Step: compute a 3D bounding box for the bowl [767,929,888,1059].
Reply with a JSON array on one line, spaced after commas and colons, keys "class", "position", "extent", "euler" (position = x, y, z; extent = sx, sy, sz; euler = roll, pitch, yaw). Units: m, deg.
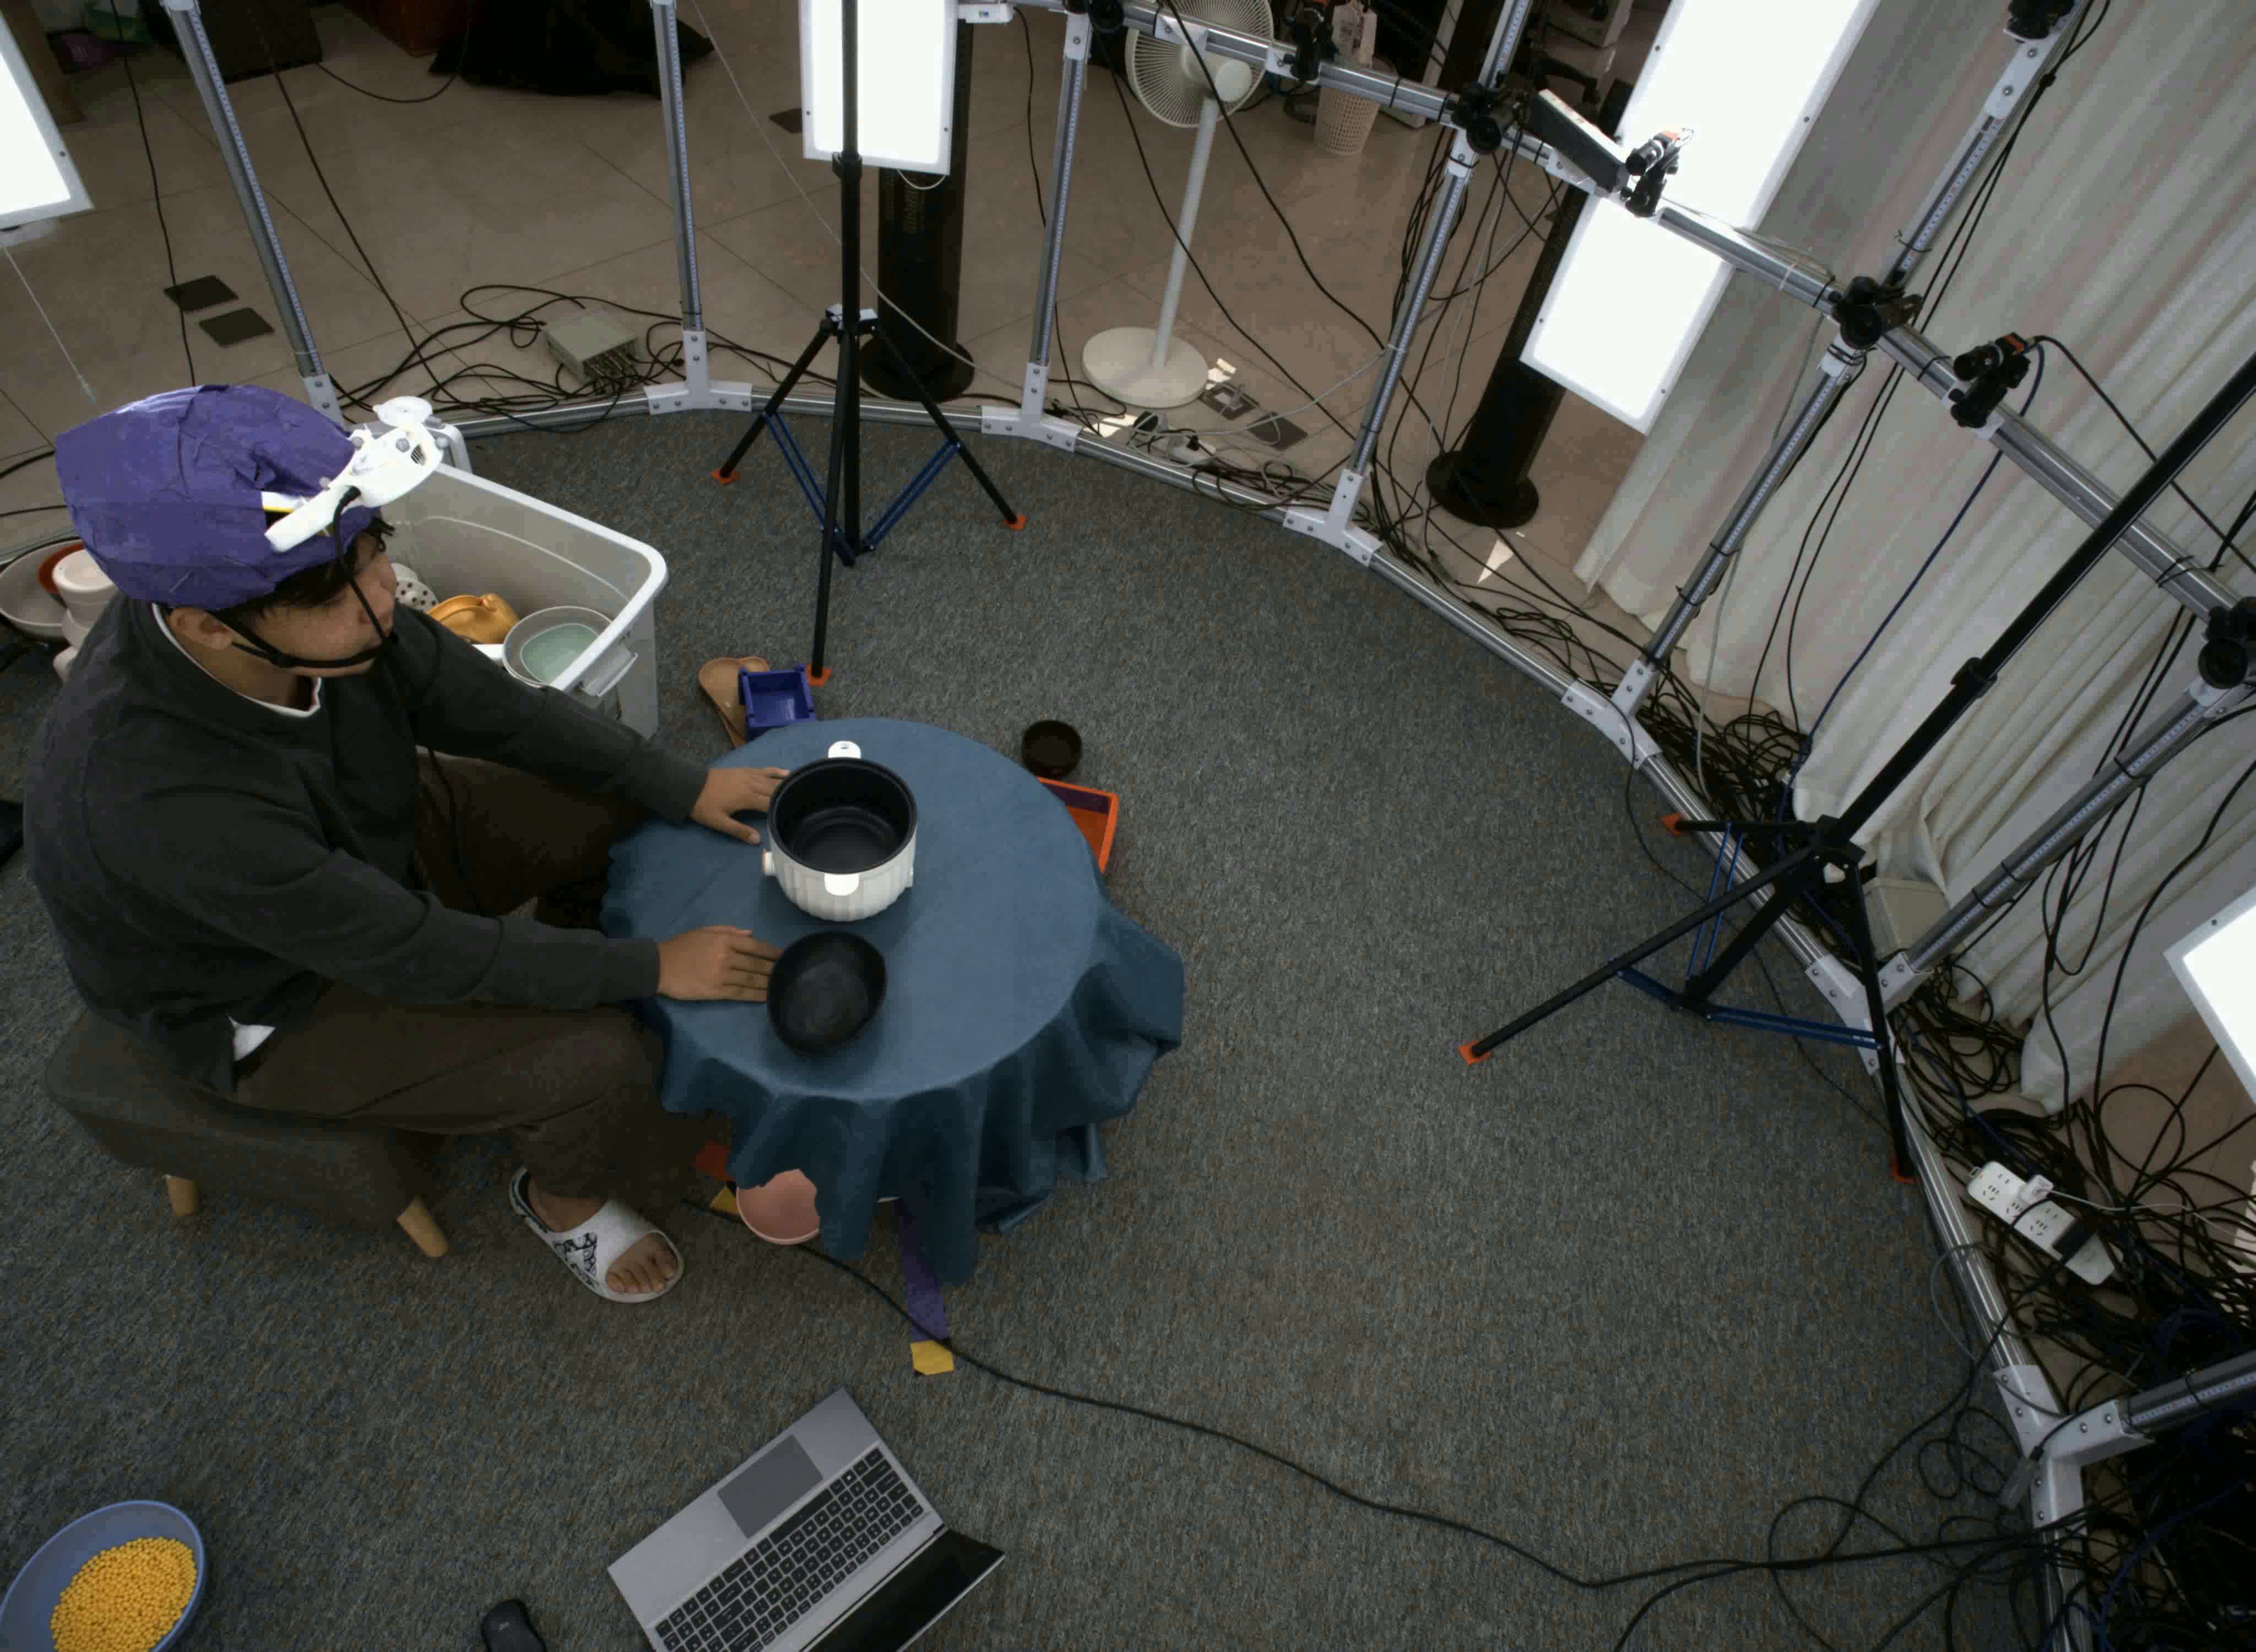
[{"class": "bowl", "position": [-0.356, 0.206, 1.541], "extent": [0.136, 0.068, 0.168], "euler": [14, 53, -2]}]

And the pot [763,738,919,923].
[{"class": "pot", "position": [-0.361, 0.024, 1.629], "extent": [0.191, 0.145, 0.235], "euler": [2, 52, -15]}]
